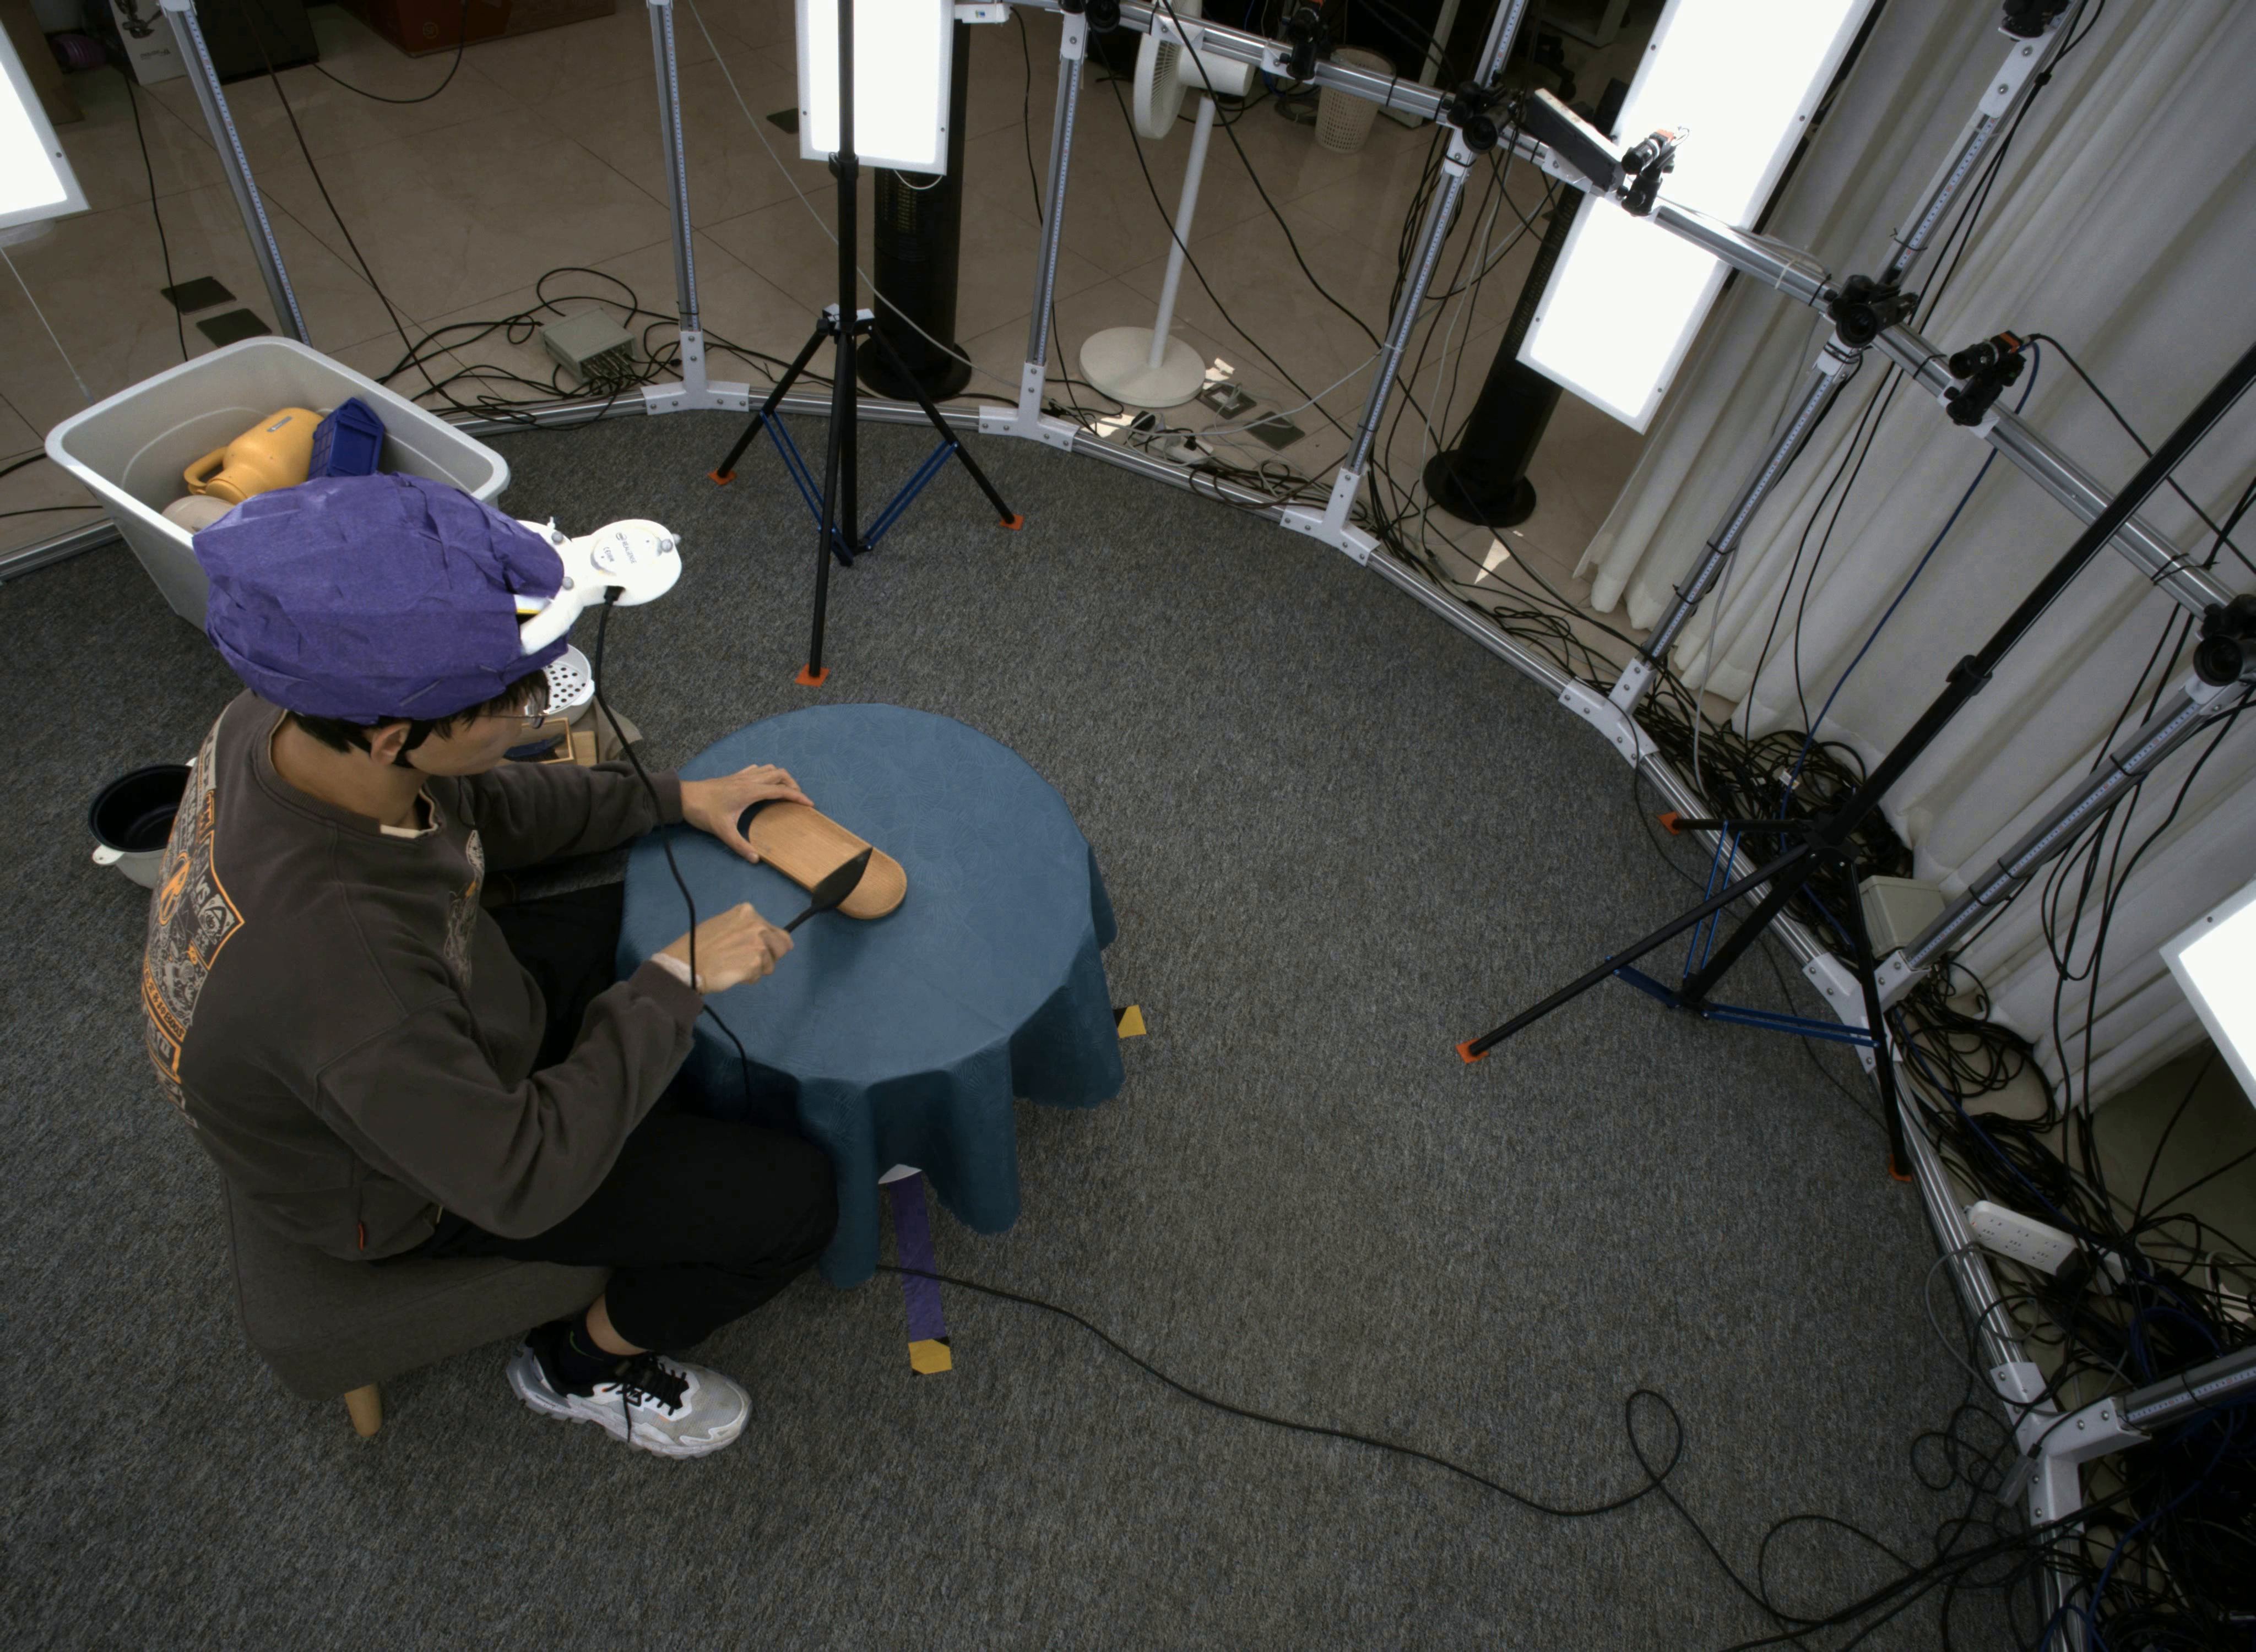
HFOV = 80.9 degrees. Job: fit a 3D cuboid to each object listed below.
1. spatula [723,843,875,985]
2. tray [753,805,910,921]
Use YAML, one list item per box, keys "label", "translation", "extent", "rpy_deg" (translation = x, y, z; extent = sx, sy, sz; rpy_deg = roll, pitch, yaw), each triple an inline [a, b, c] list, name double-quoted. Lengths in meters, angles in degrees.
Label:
- label: "spatula"
  translation: [-0.385, 0.102, 1.499]
  extent: [0.041, 0.099, 0.325]
  rpy_deg: [53, 23, -4]
- label: "tray"
  translation: [-0.390, 0.047, 1.703]
  extent: [0.227, 0.021, 0.101]
  rpy_deg: [32, 54, 9]
